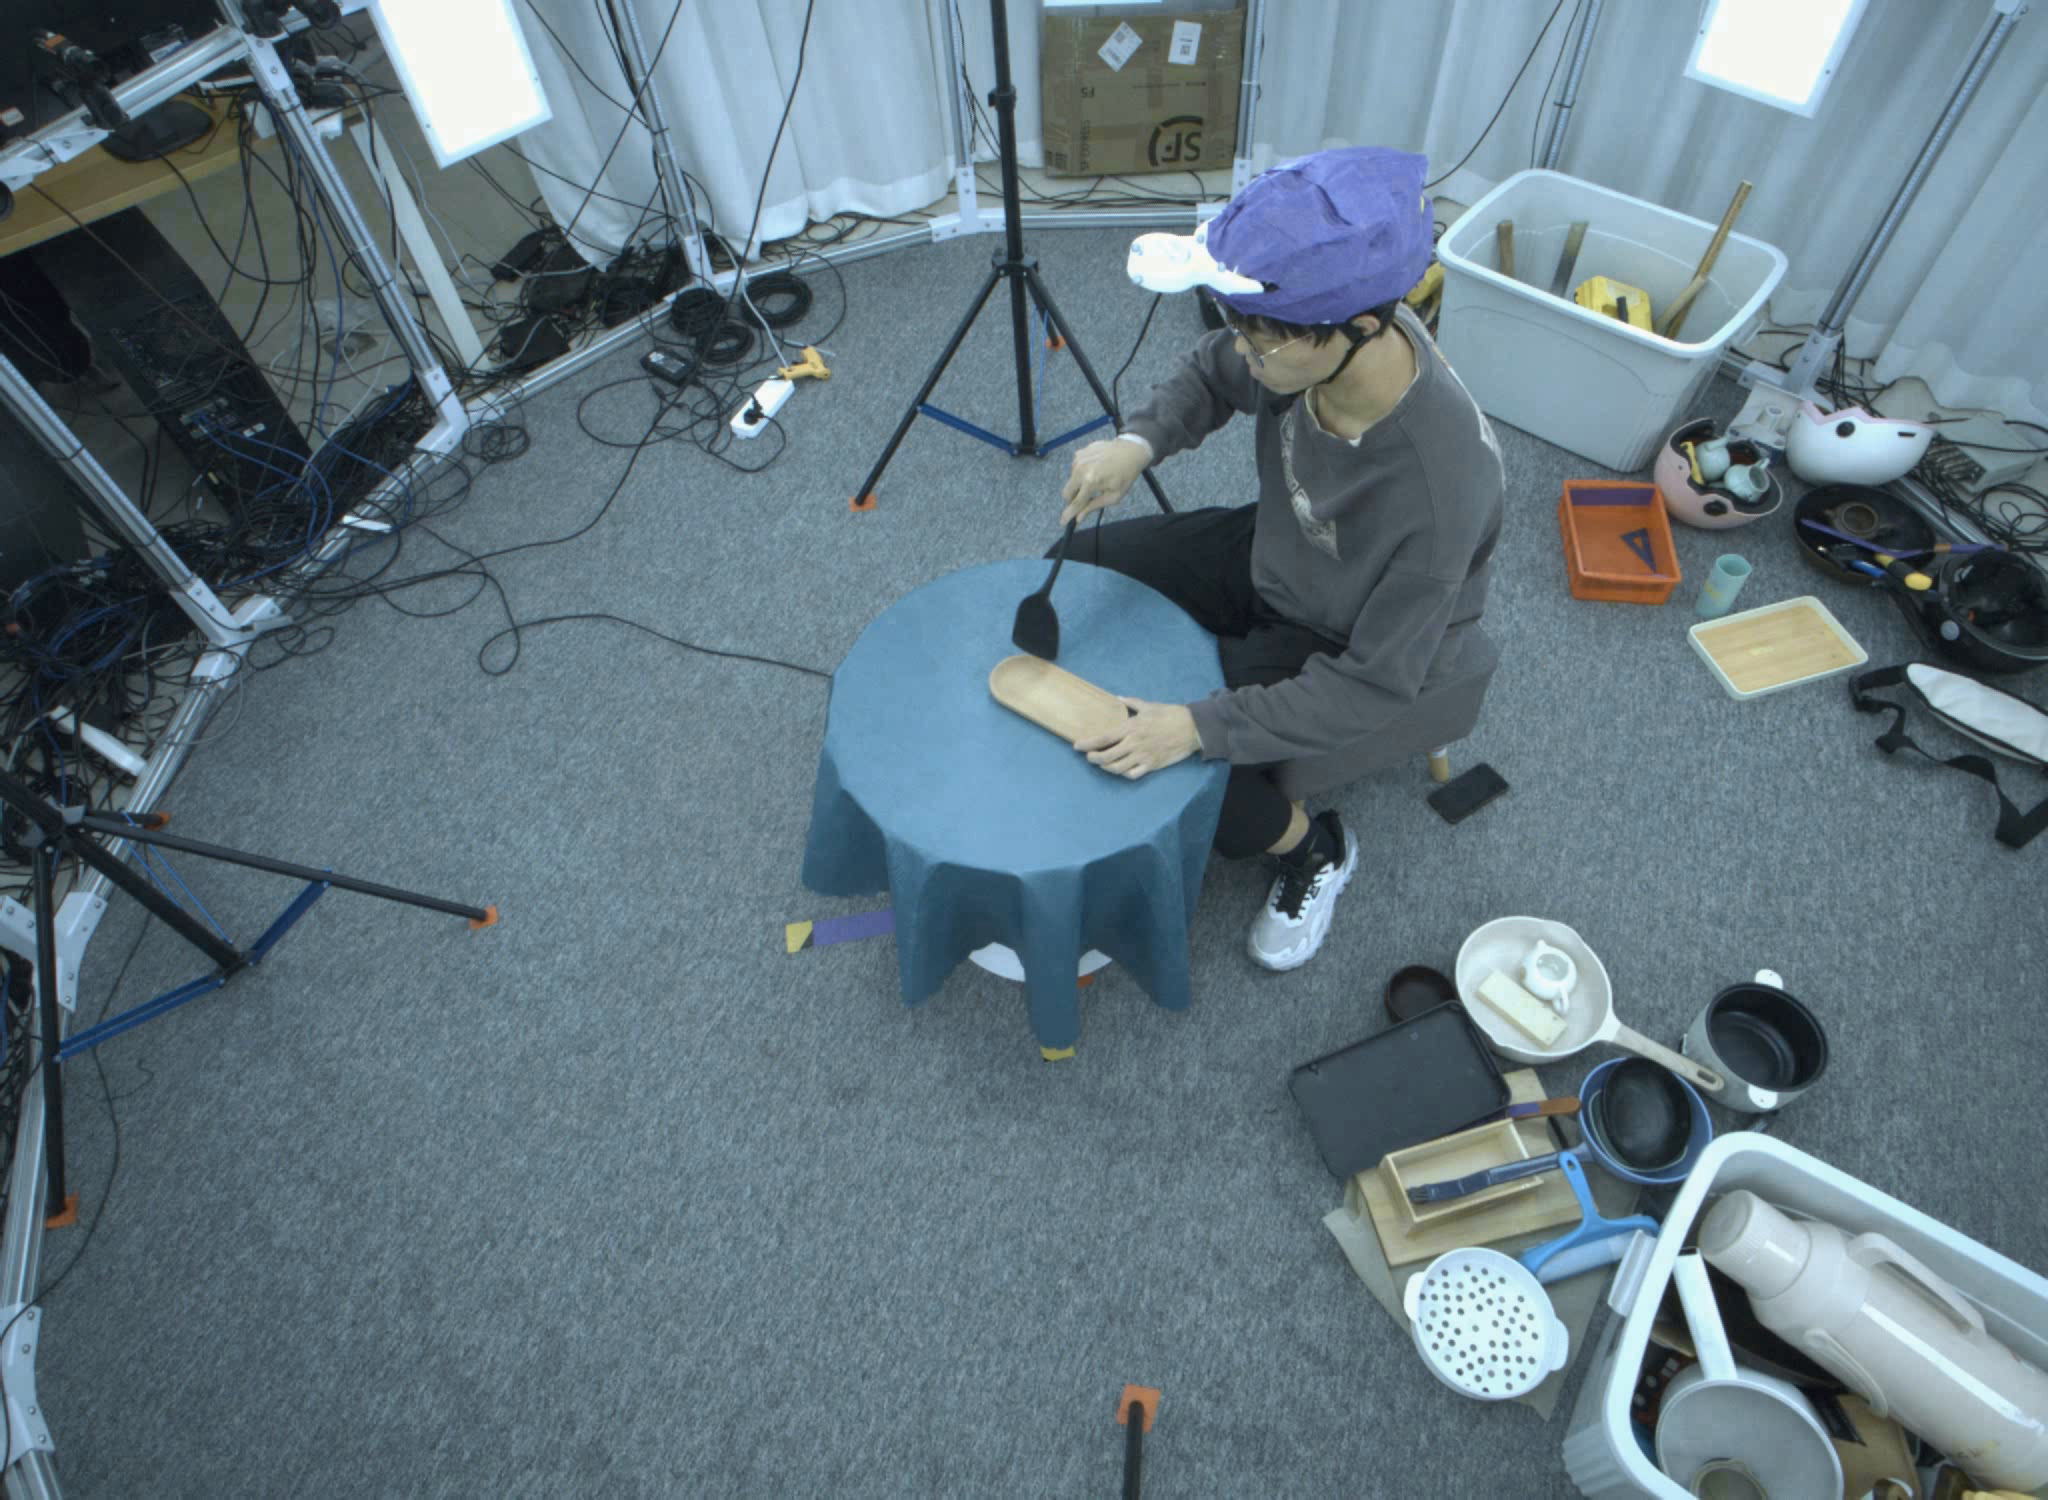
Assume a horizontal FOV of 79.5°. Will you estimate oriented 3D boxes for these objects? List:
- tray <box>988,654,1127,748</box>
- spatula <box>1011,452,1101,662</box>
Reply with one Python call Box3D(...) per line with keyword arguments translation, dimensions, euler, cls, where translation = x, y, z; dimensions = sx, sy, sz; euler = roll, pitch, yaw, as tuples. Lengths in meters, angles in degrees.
Box3D(translation=(0.048, -0.073, 1.826), dimensions=(0.227, 0.020, 0.102), euler=(29, 59, 22), cls="tray")
Box3D(translation=(0.060, -0.294, 1.831), dimensions=(0.039, 0.102, 0.326), euler=(23, 92, 45), cls="spatula")
